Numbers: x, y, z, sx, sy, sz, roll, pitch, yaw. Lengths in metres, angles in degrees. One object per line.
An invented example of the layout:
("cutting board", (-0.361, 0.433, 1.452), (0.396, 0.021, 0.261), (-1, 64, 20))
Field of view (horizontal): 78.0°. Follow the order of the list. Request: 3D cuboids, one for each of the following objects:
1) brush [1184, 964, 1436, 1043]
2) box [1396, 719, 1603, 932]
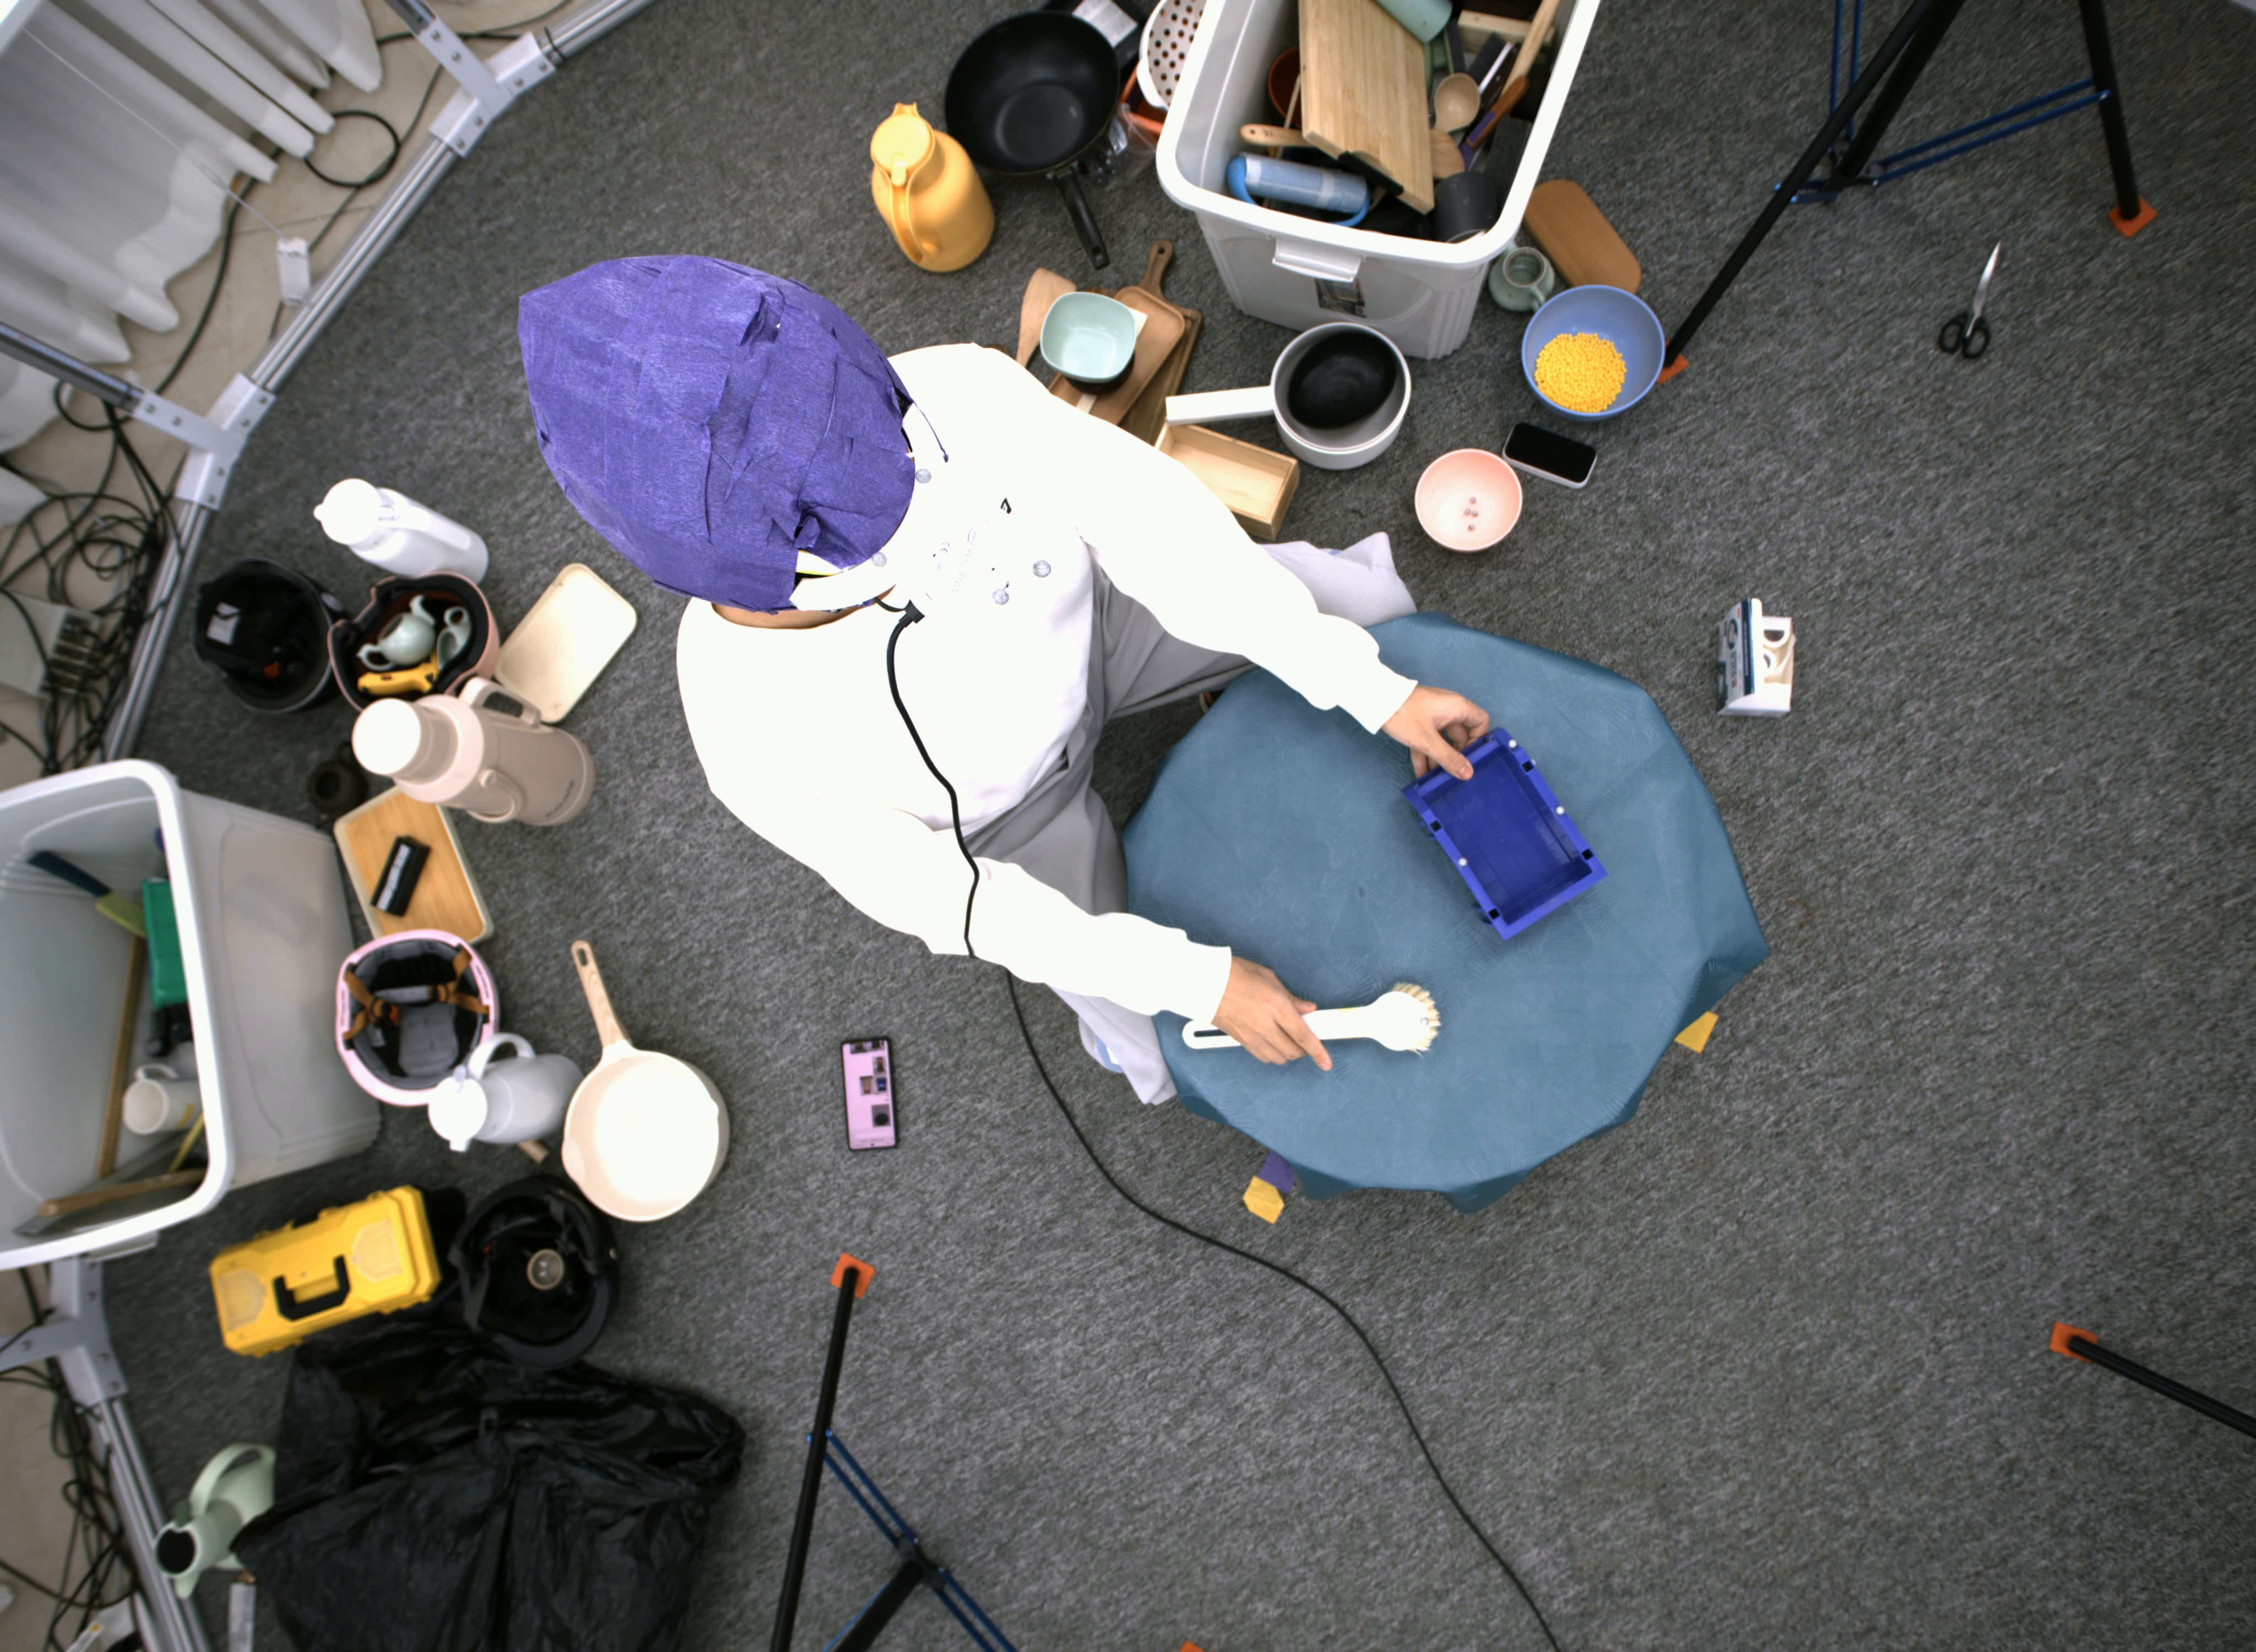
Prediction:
("brush", (0.187, 0.191, 1.435), (0.269, 0.056, 0.067), (-14, 73, 27))
("box", (0.371, -0.004, 1.392), (0.125, 0.081, 0.179), (-33, 90, 7))
